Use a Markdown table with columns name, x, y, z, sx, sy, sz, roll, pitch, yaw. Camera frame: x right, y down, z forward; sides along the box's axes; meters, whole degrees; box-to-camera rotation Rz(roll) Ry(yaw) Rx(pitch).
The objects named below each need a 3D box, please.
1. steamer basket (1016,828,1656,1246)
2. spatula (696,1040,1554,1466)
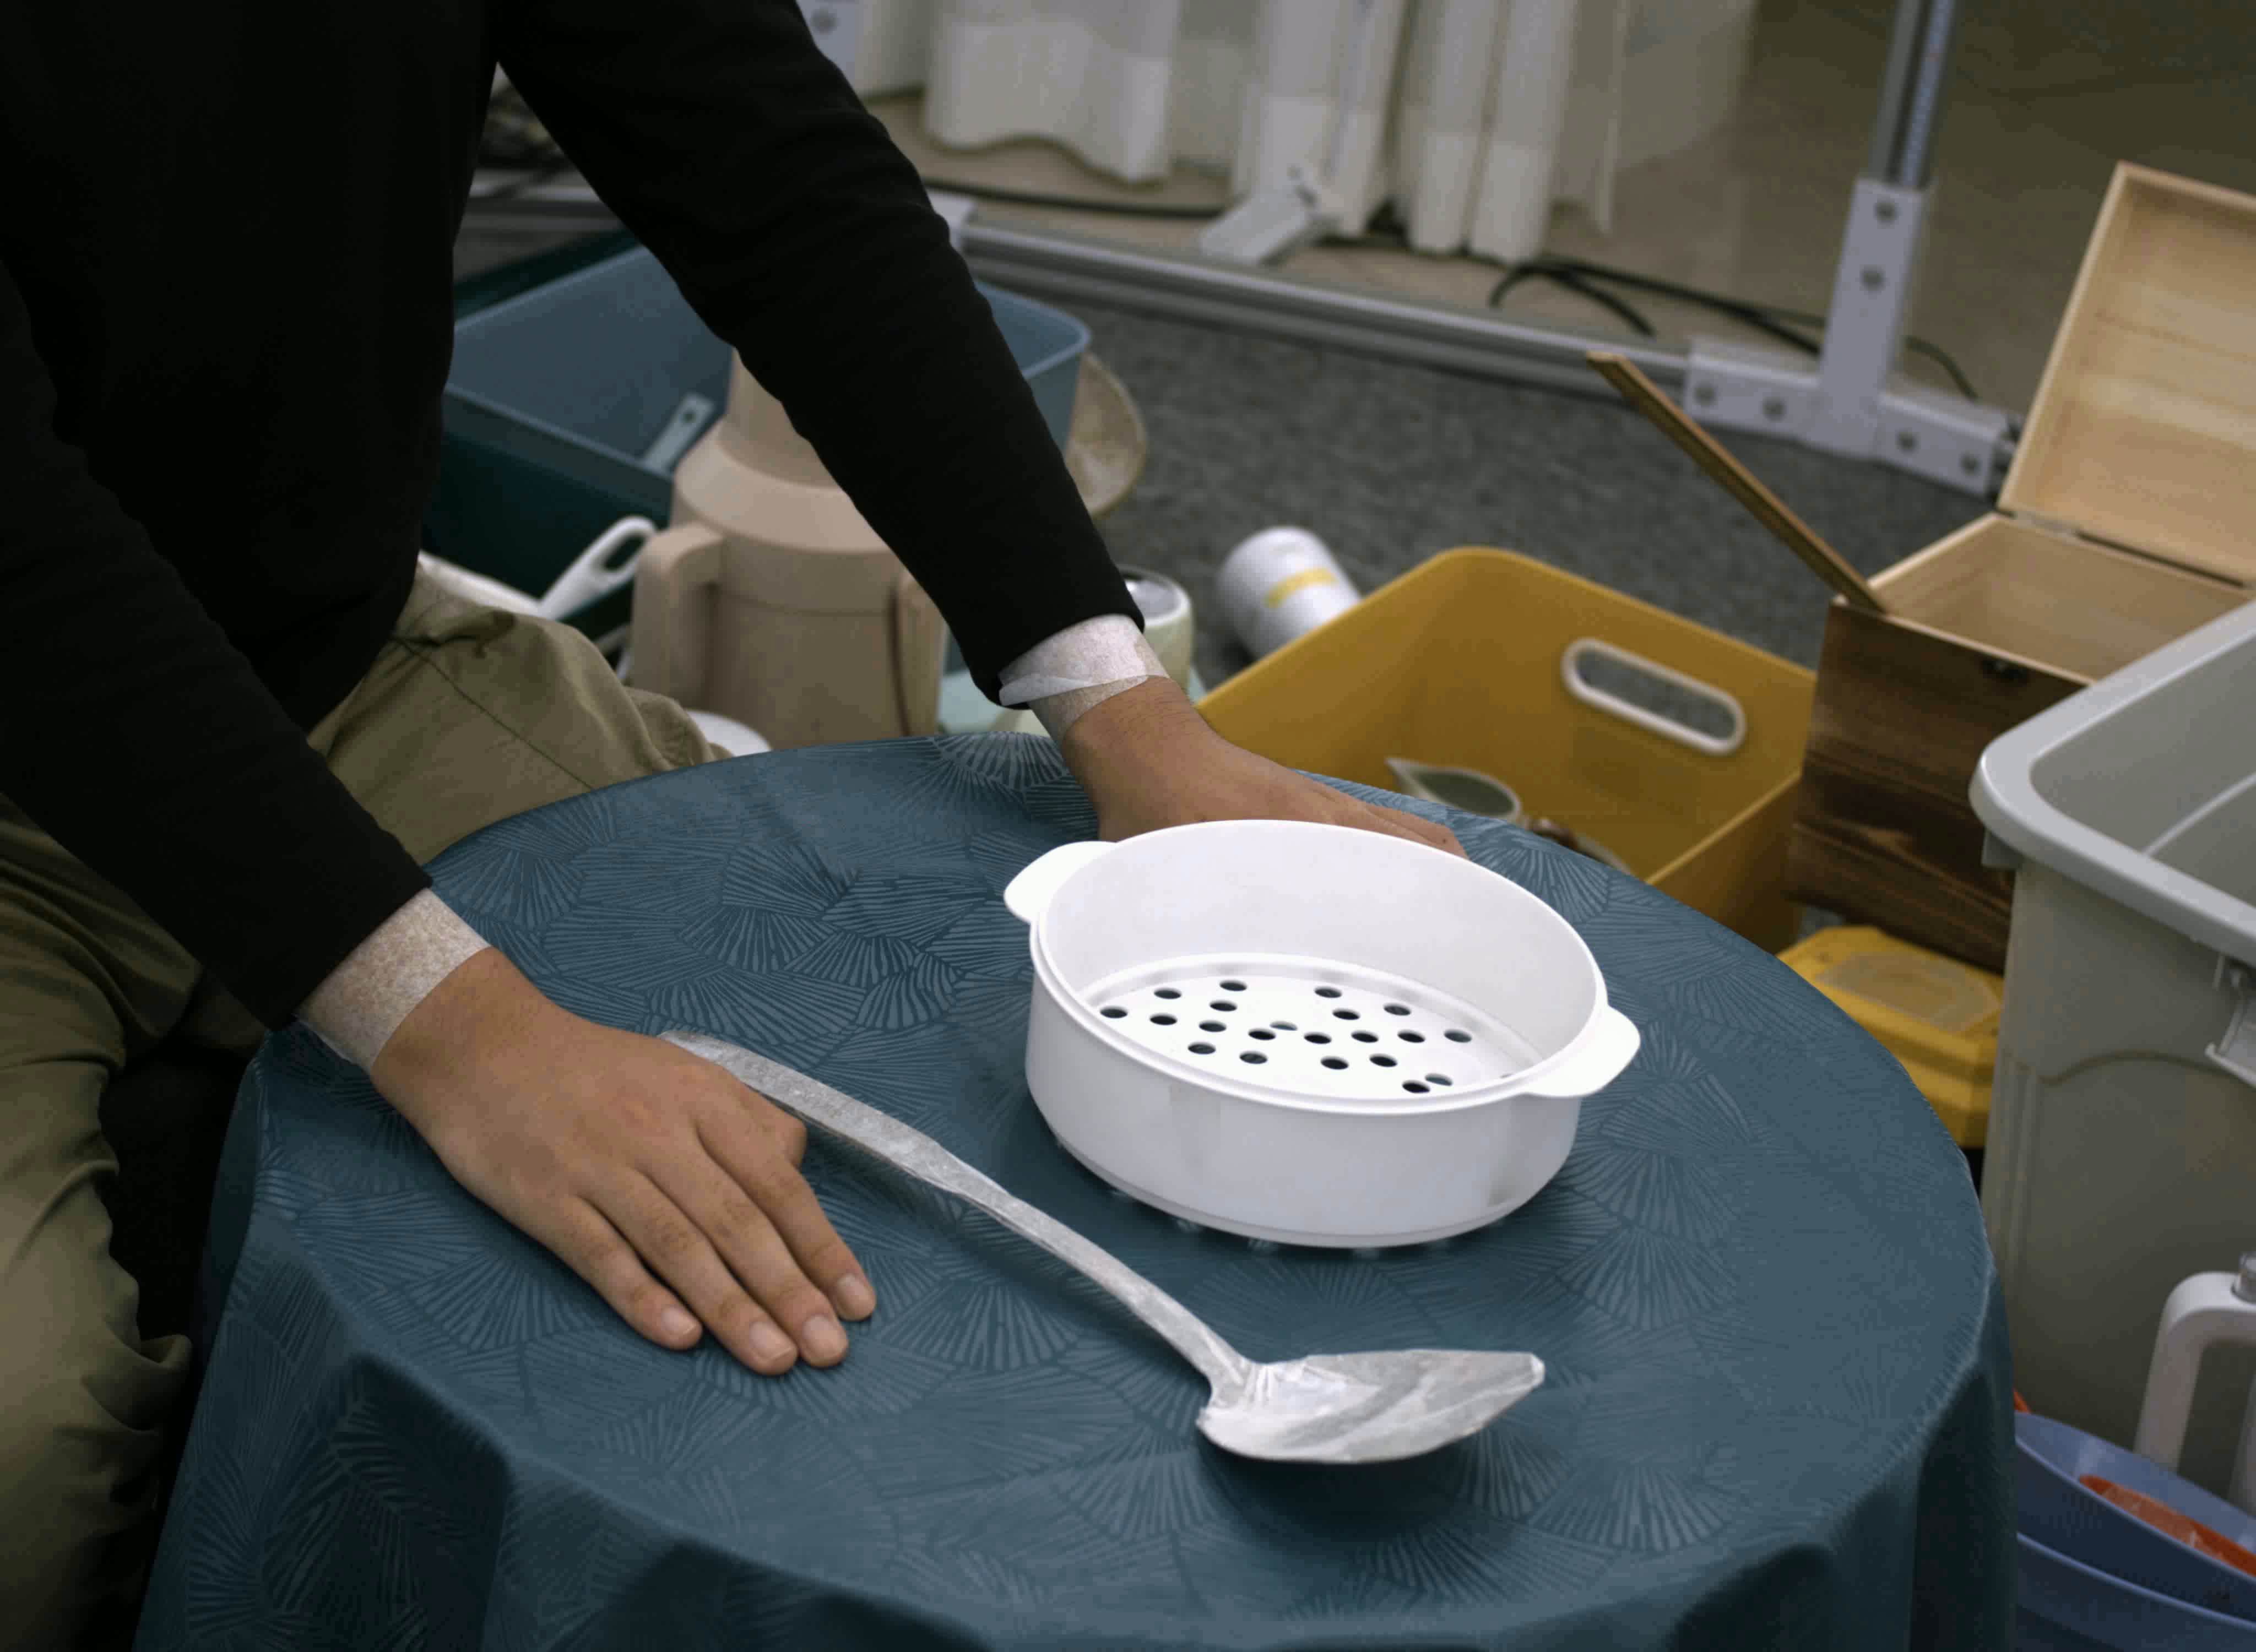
| name | x | y | z | sx | sy | sz | roll | pitch | yaw |
| --- | --- | --- | --- | --- | --- | --- | --- | --- | --- |
| steamer basket | 0.067 | 0.073 | 1.839 | 0.231 | 0.069 | 0.201 | 18 | 28 | 23 |
| spatula | -0.022 | 0.131 | 1.741 | 0.367 | 0.044 | 0.098 | 28 | 36 | 36 |
